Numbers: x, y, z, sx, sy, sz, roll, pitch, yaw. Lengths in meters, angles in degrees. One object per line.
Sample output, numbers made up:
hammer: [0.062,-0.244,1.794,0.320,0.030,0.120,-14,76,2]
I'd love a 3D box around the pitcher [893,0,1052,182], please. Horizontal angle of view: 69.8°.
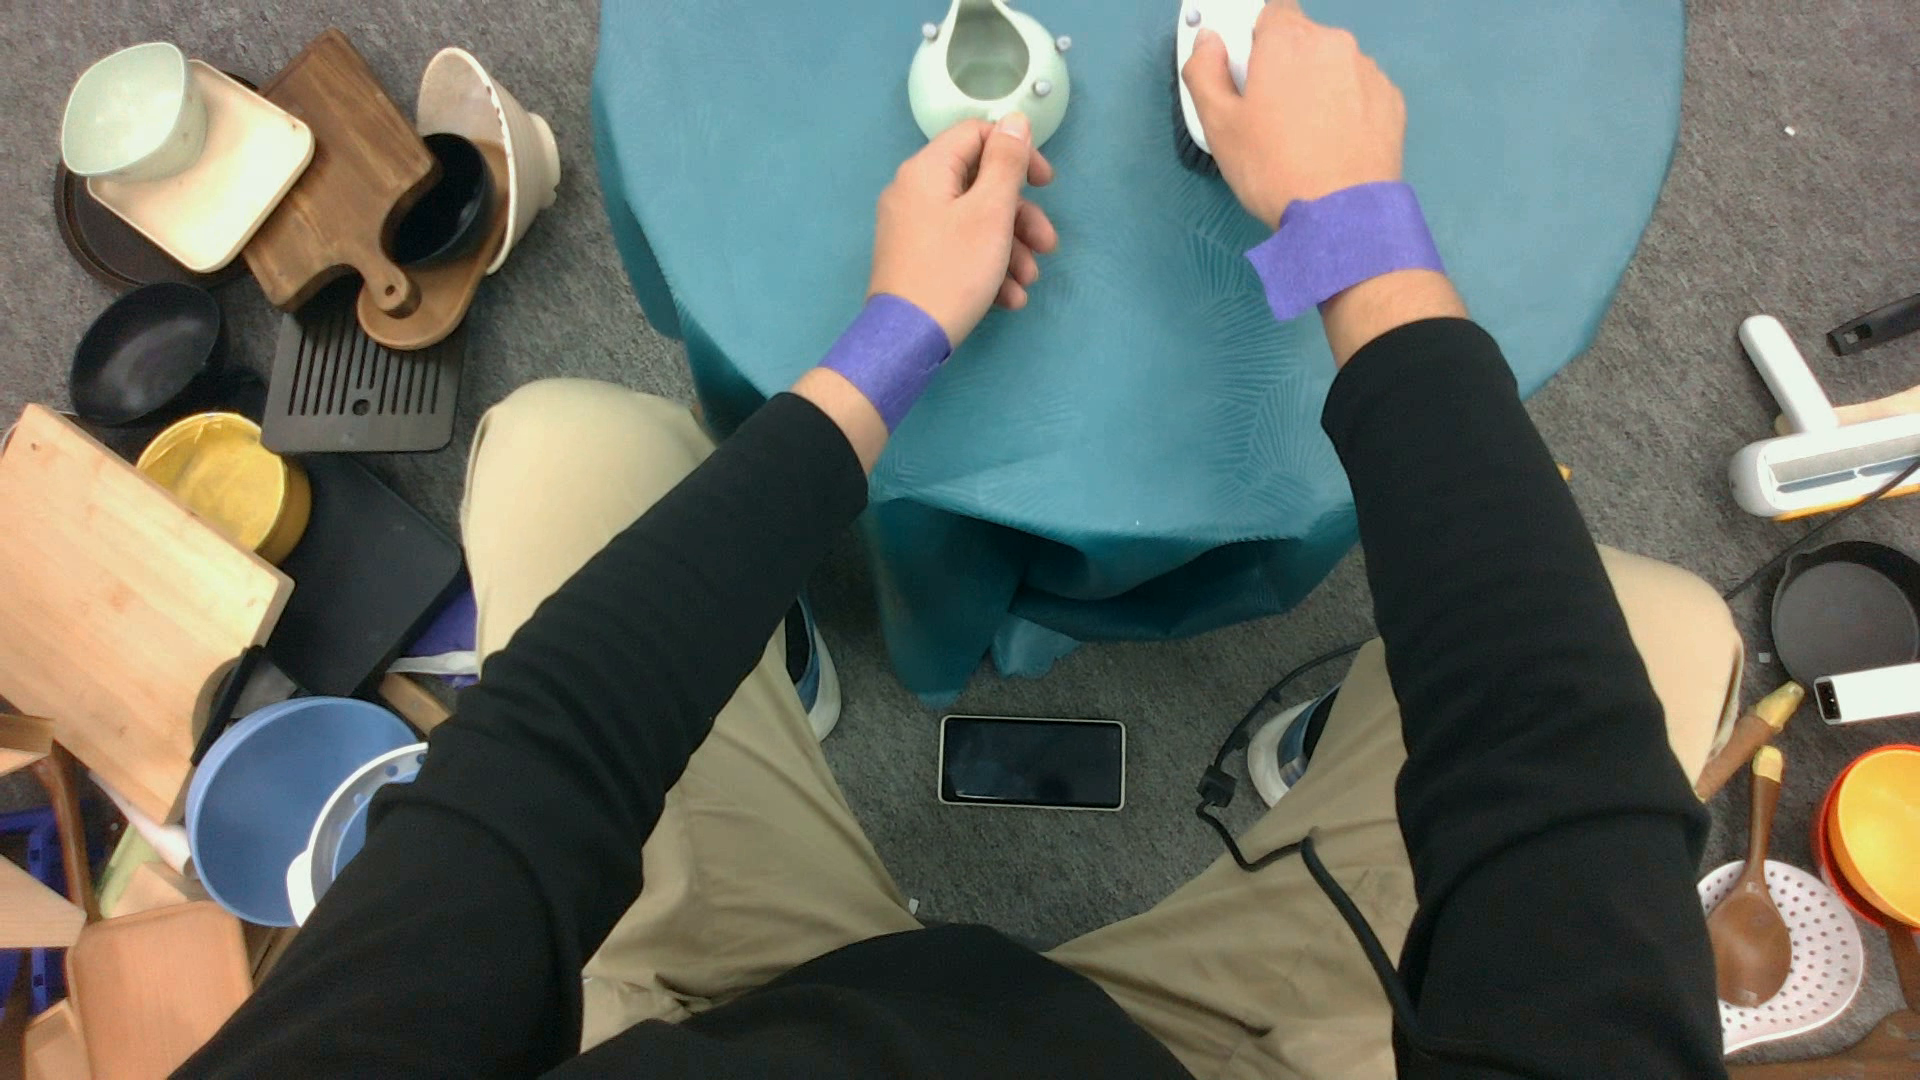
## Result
pitcher: [0.009,-0.229,0.723,0.086,0.060,0.108,3,63,-9]

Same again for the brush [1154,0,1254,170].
brush: [0.129,-0.255,0.720,0.050,0.072,0.099,-1,79,3]
